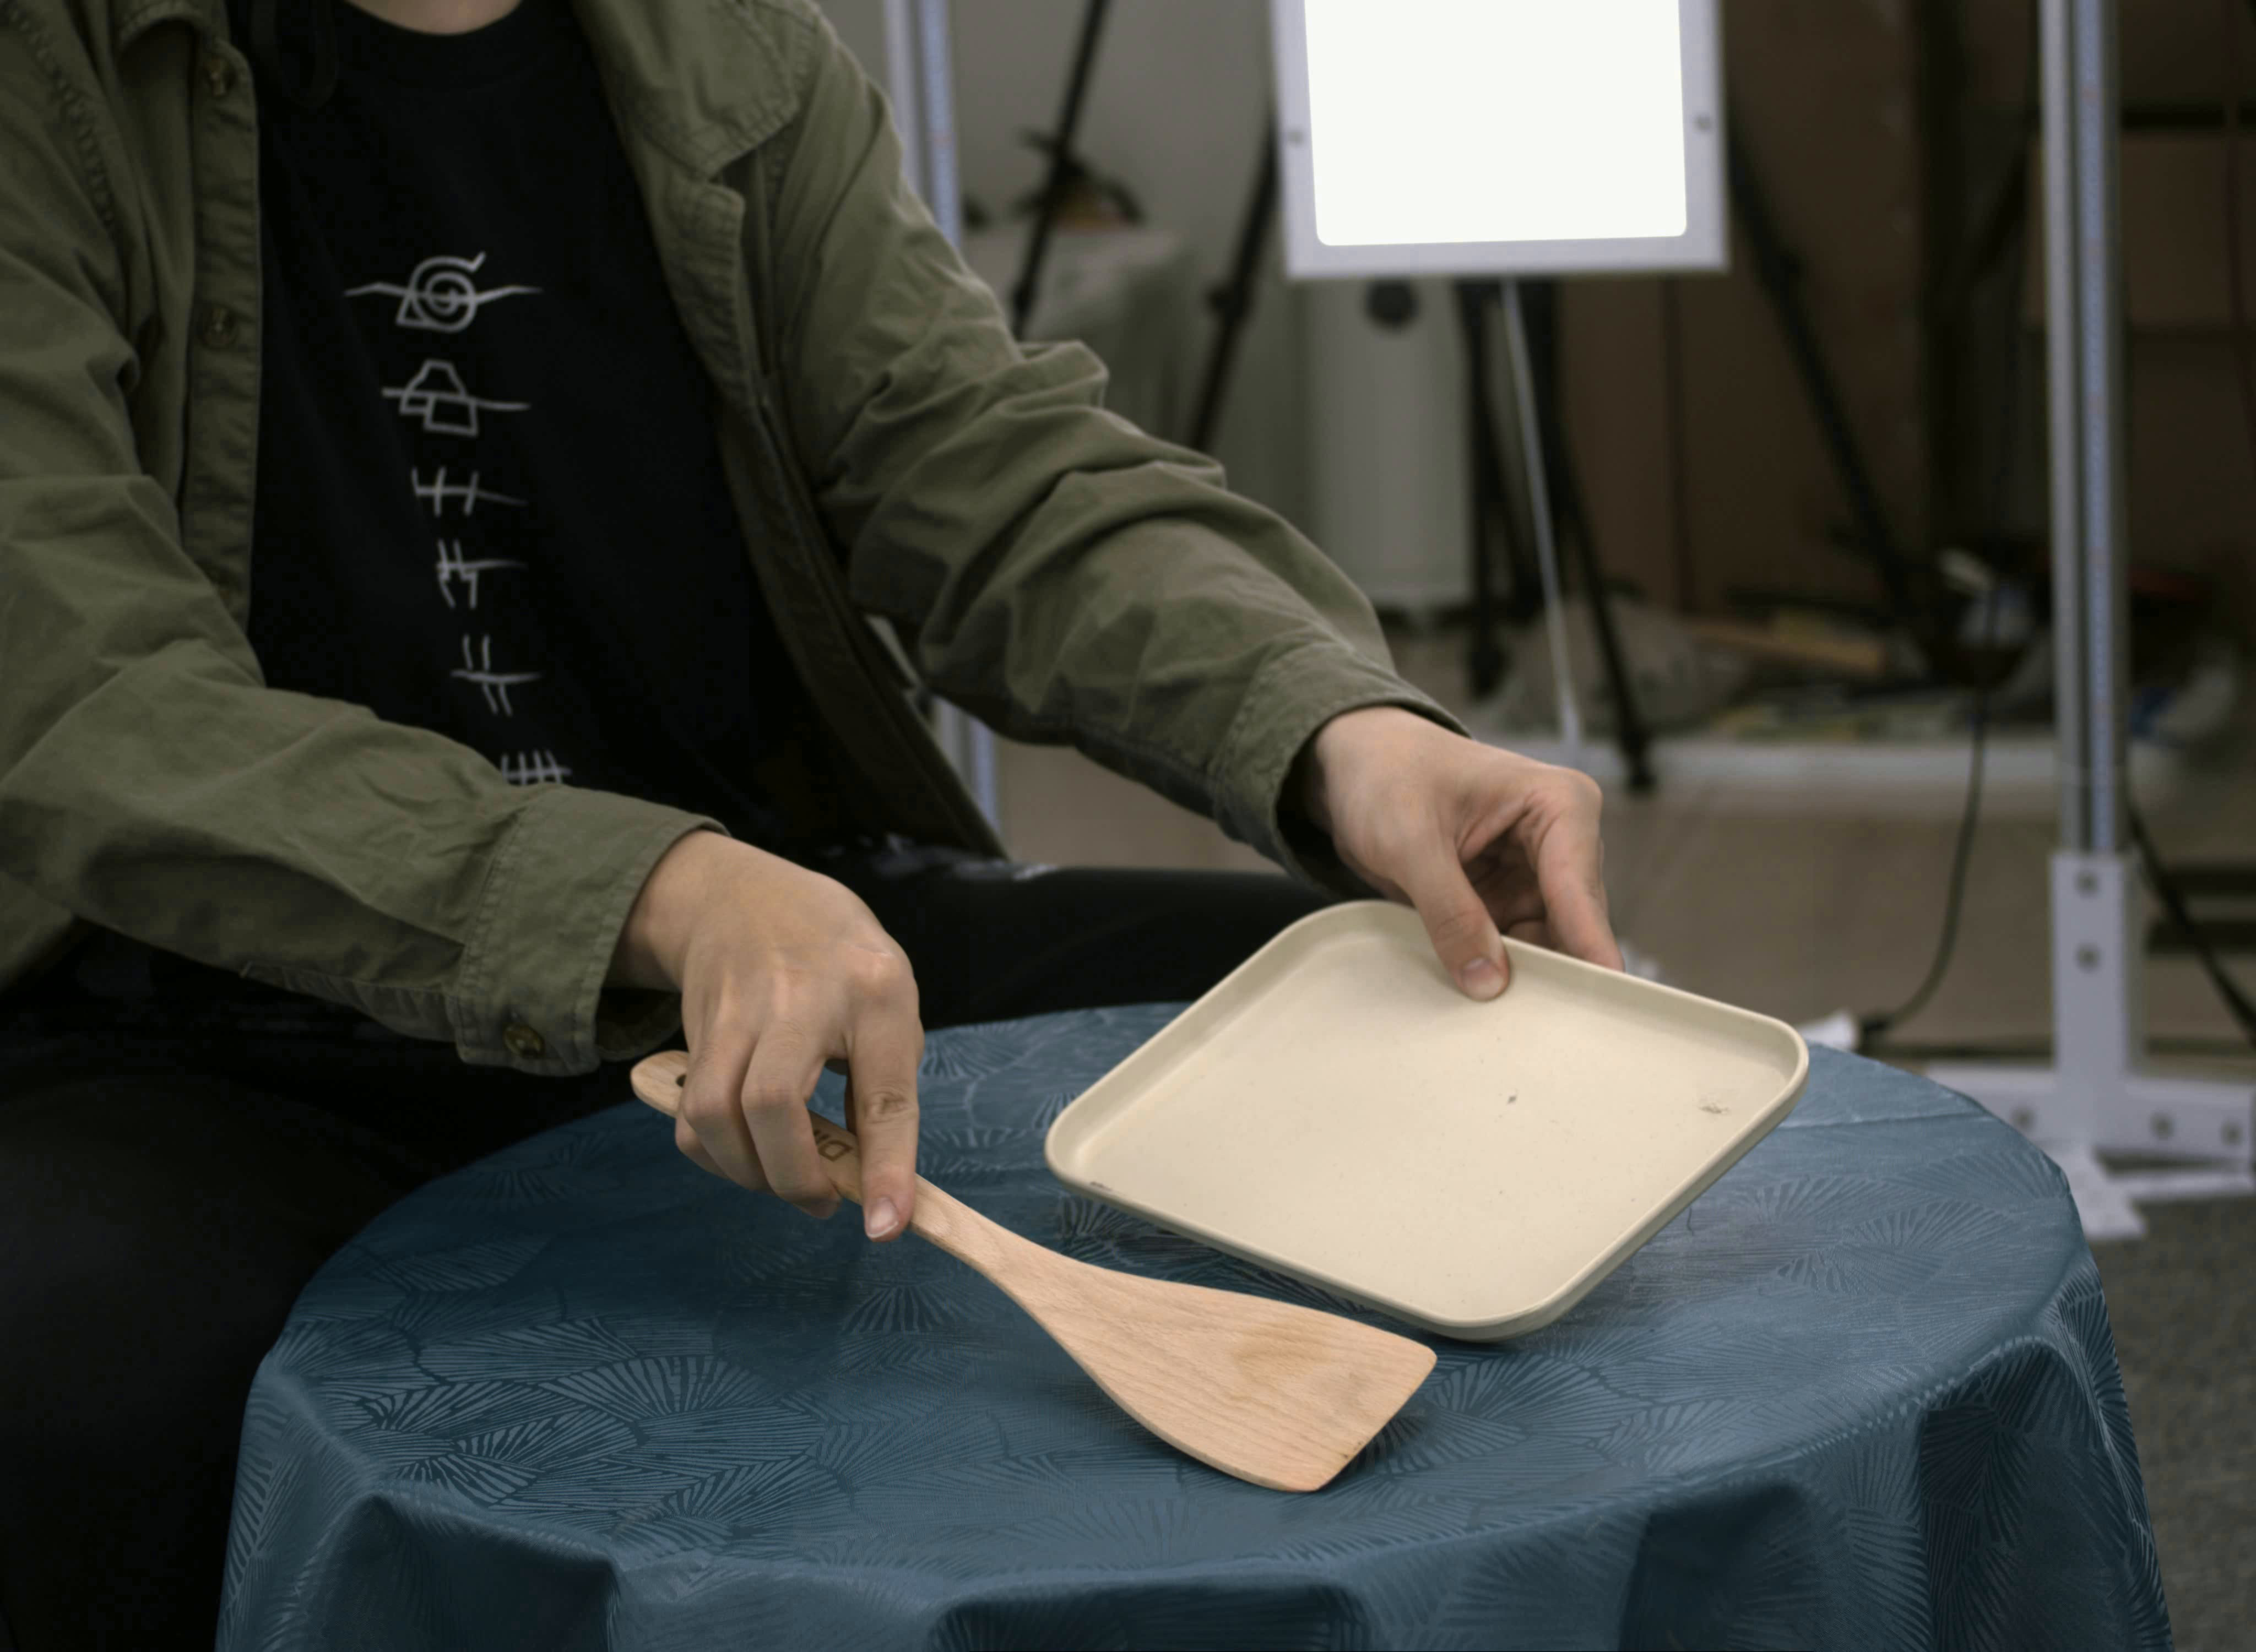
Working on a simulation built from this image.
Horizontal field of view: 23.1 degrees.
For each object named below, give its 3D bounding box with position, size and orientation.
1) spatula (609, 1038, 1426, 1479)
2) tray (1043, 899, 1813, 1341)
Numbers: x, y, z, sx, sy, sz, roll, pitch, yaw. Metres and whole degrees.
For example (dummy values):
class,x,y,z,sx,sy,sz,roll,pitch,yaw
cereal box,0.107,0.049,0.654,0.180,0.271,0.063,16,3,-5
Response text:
class,x,y,z,sx,sy,sz,roll,pitch,yaw
spatula,-0.045,0.125,1.724,0.333,0.016,0.078,24,43,37
tray,0.098,0.095,1.813,0.168,0.017,0.244,-38,34,-27
